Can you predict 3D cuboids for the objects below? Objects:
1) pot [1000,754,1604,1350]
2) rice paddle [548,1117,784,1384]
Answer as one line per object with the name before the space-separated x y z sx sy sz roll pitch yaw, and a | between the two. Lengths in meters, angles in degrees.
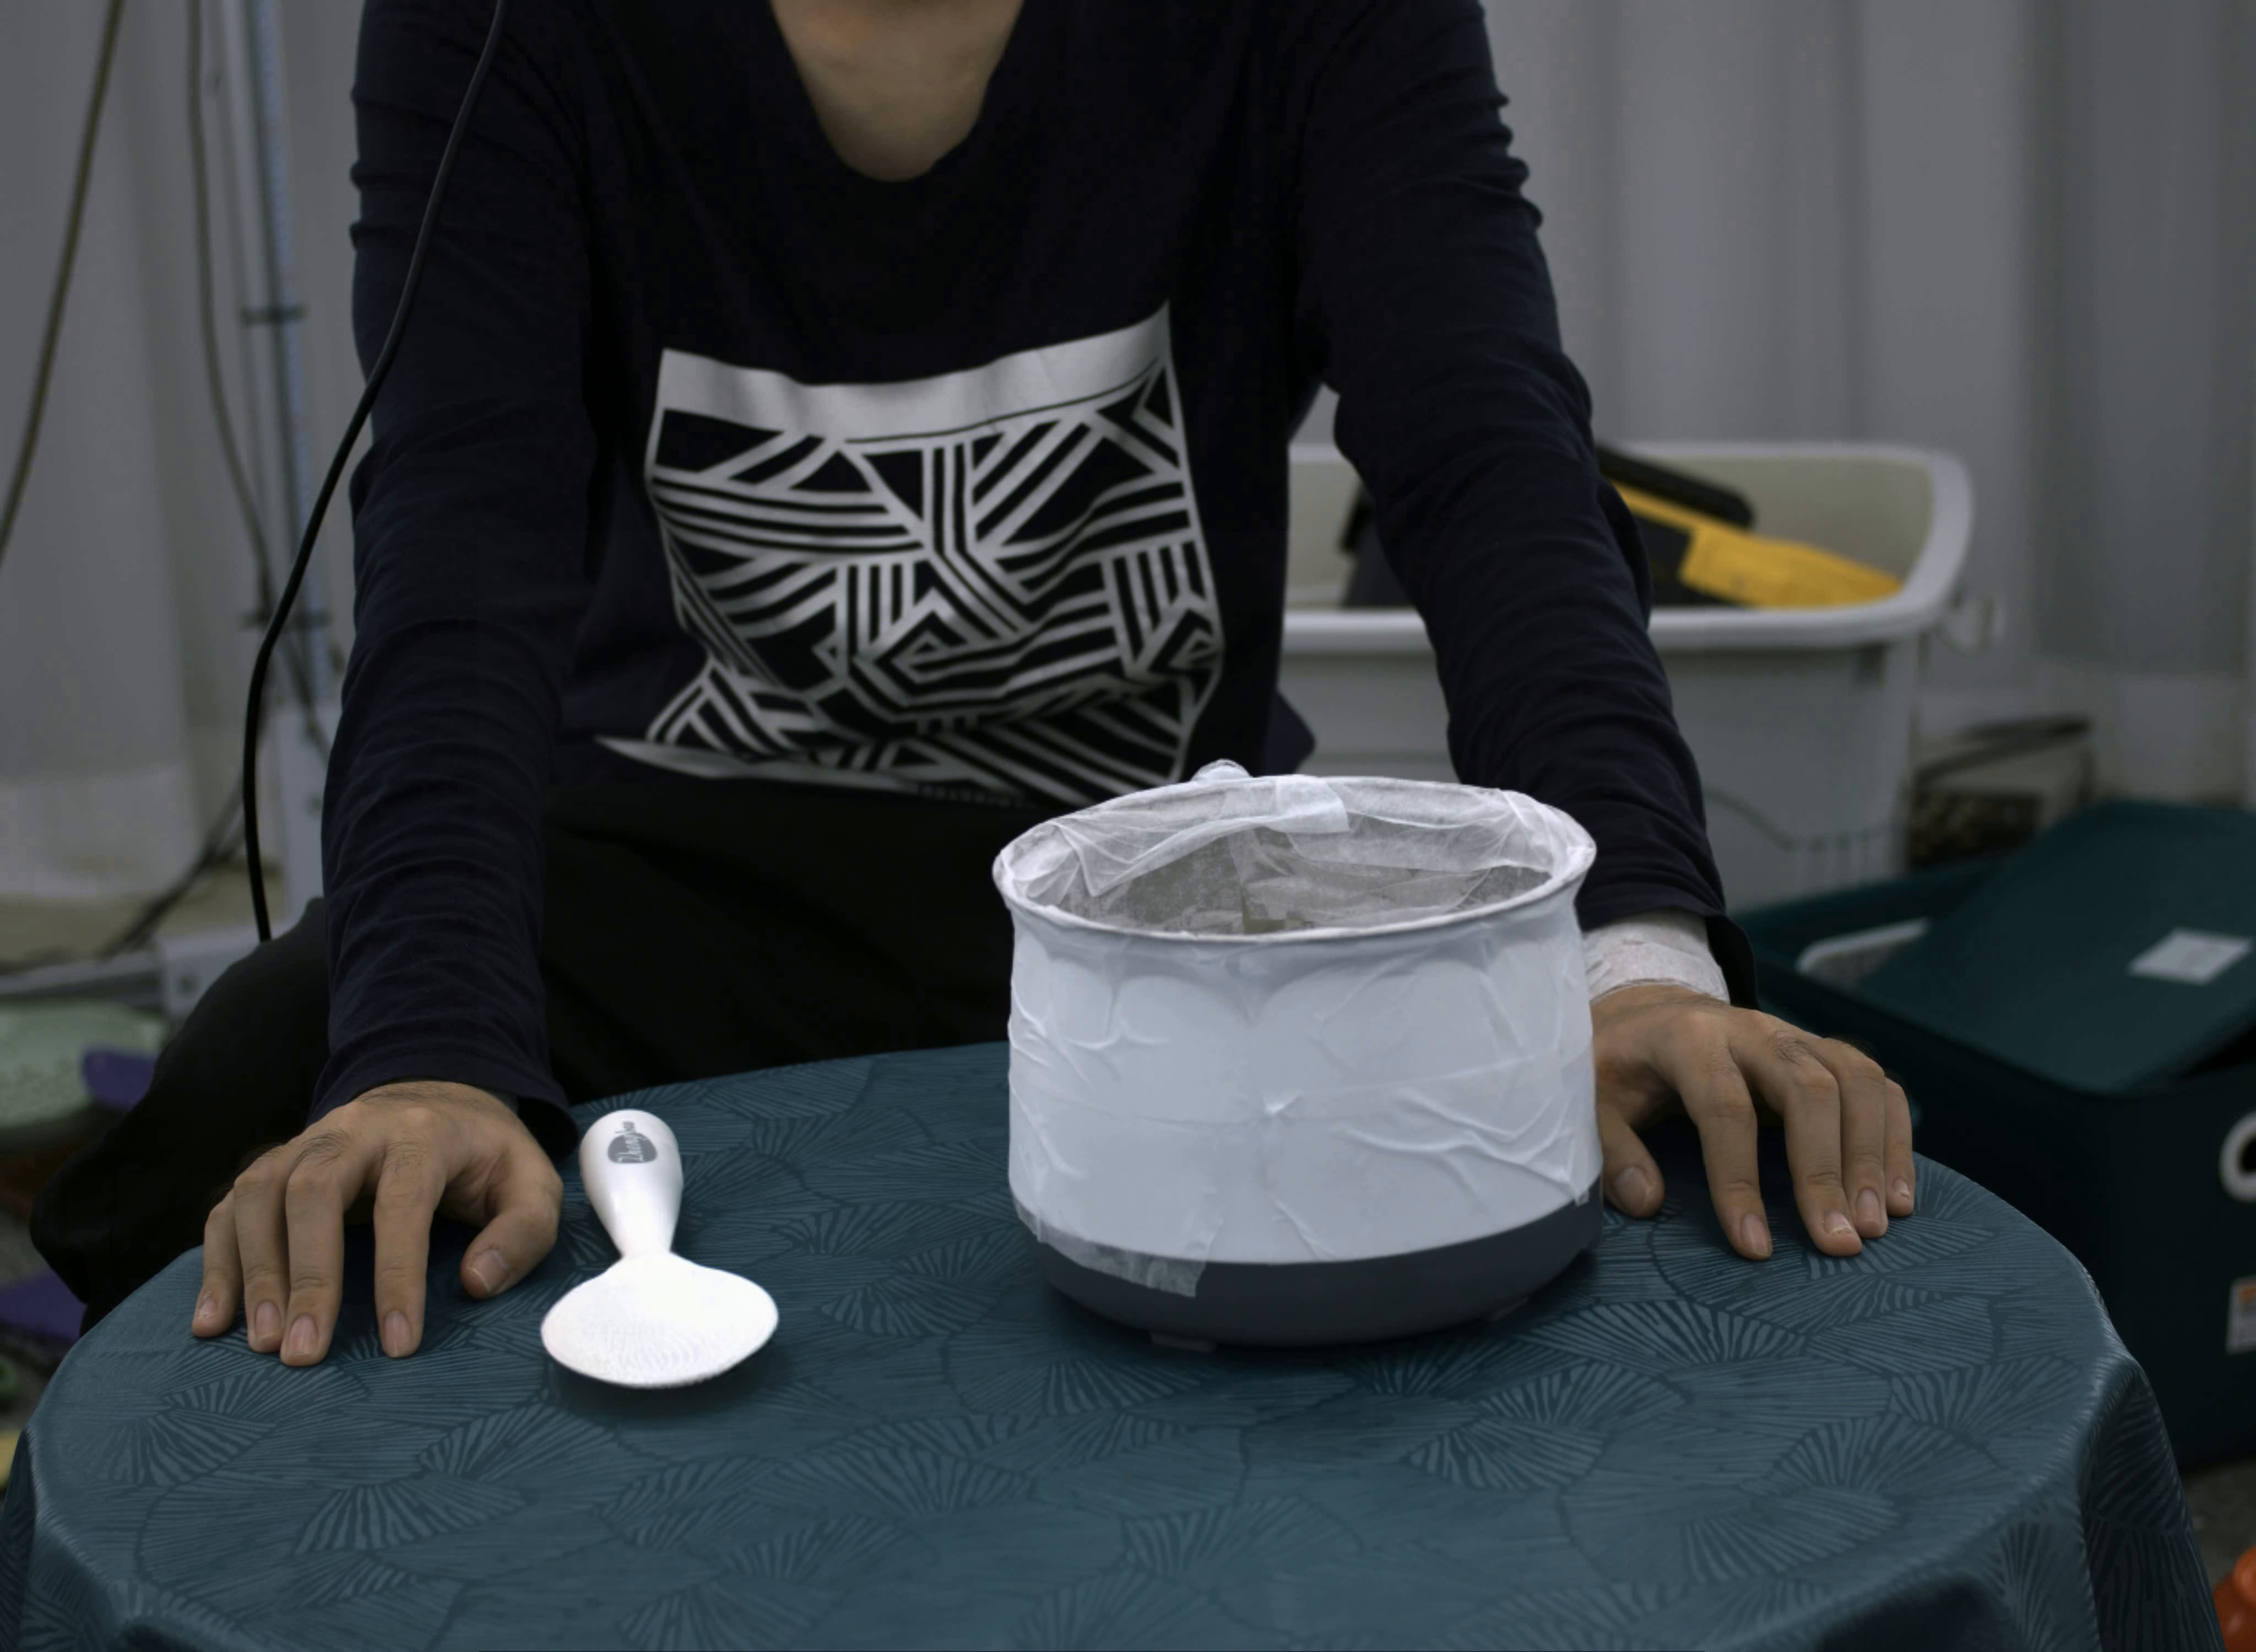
pot | 0.045 0.062 1.642 0.178 0.136 0.235 -3 15 -12
rice paddle | -0.143 0.129 1.635 0.068 0.029 0.207 -7 14 -8
